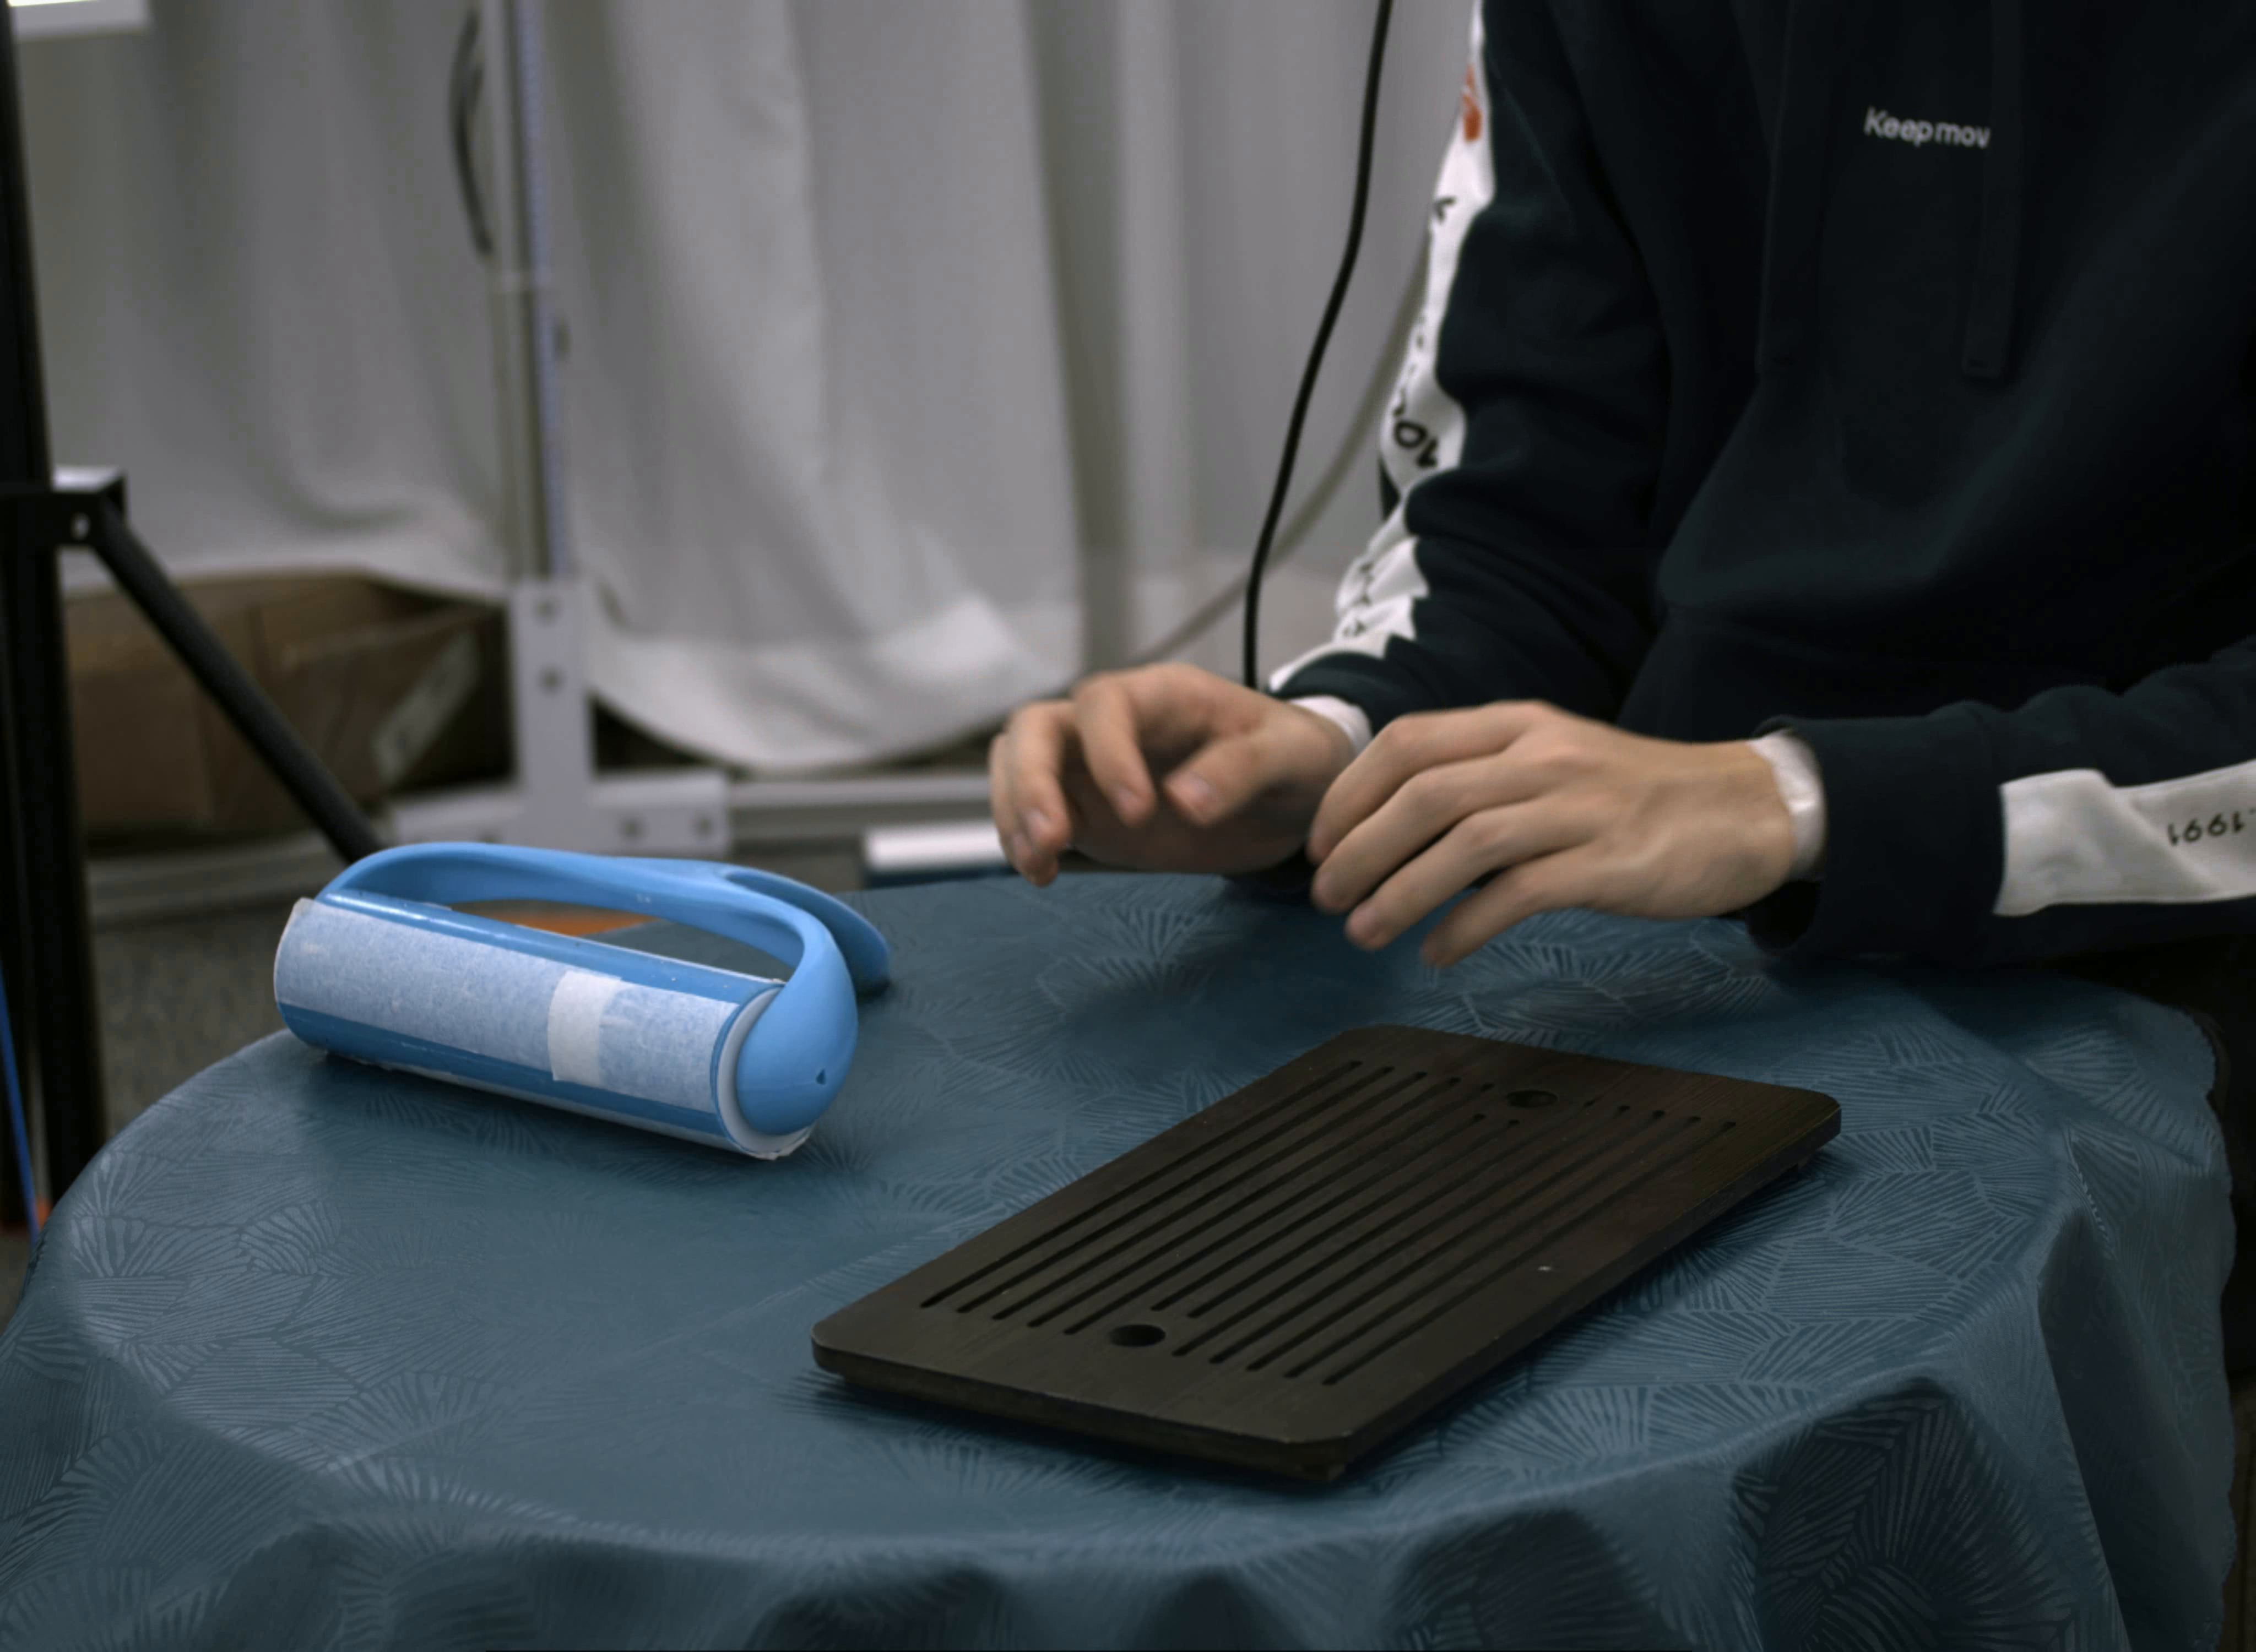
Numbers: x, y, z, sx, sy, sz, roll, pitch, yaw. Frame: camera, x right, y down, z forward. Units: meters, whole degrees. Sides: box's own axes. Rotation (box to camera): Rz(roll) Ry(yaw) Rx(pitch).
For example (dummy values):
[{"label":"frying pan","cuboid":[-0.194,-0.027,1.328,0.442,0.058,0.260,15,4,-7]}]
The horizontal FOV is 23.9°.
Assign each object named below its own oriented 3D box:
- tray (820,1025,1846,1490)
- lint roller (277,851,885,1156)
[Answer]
[{"label":"tray","cuboid":[0.065,0.117,1.483,0.173,0.018,0.300,7,19,33]},{"label":"lint roller","cuboid":[-0.144,0.044,1.703,0.234,0.068,0.176,7,20,37]}]
